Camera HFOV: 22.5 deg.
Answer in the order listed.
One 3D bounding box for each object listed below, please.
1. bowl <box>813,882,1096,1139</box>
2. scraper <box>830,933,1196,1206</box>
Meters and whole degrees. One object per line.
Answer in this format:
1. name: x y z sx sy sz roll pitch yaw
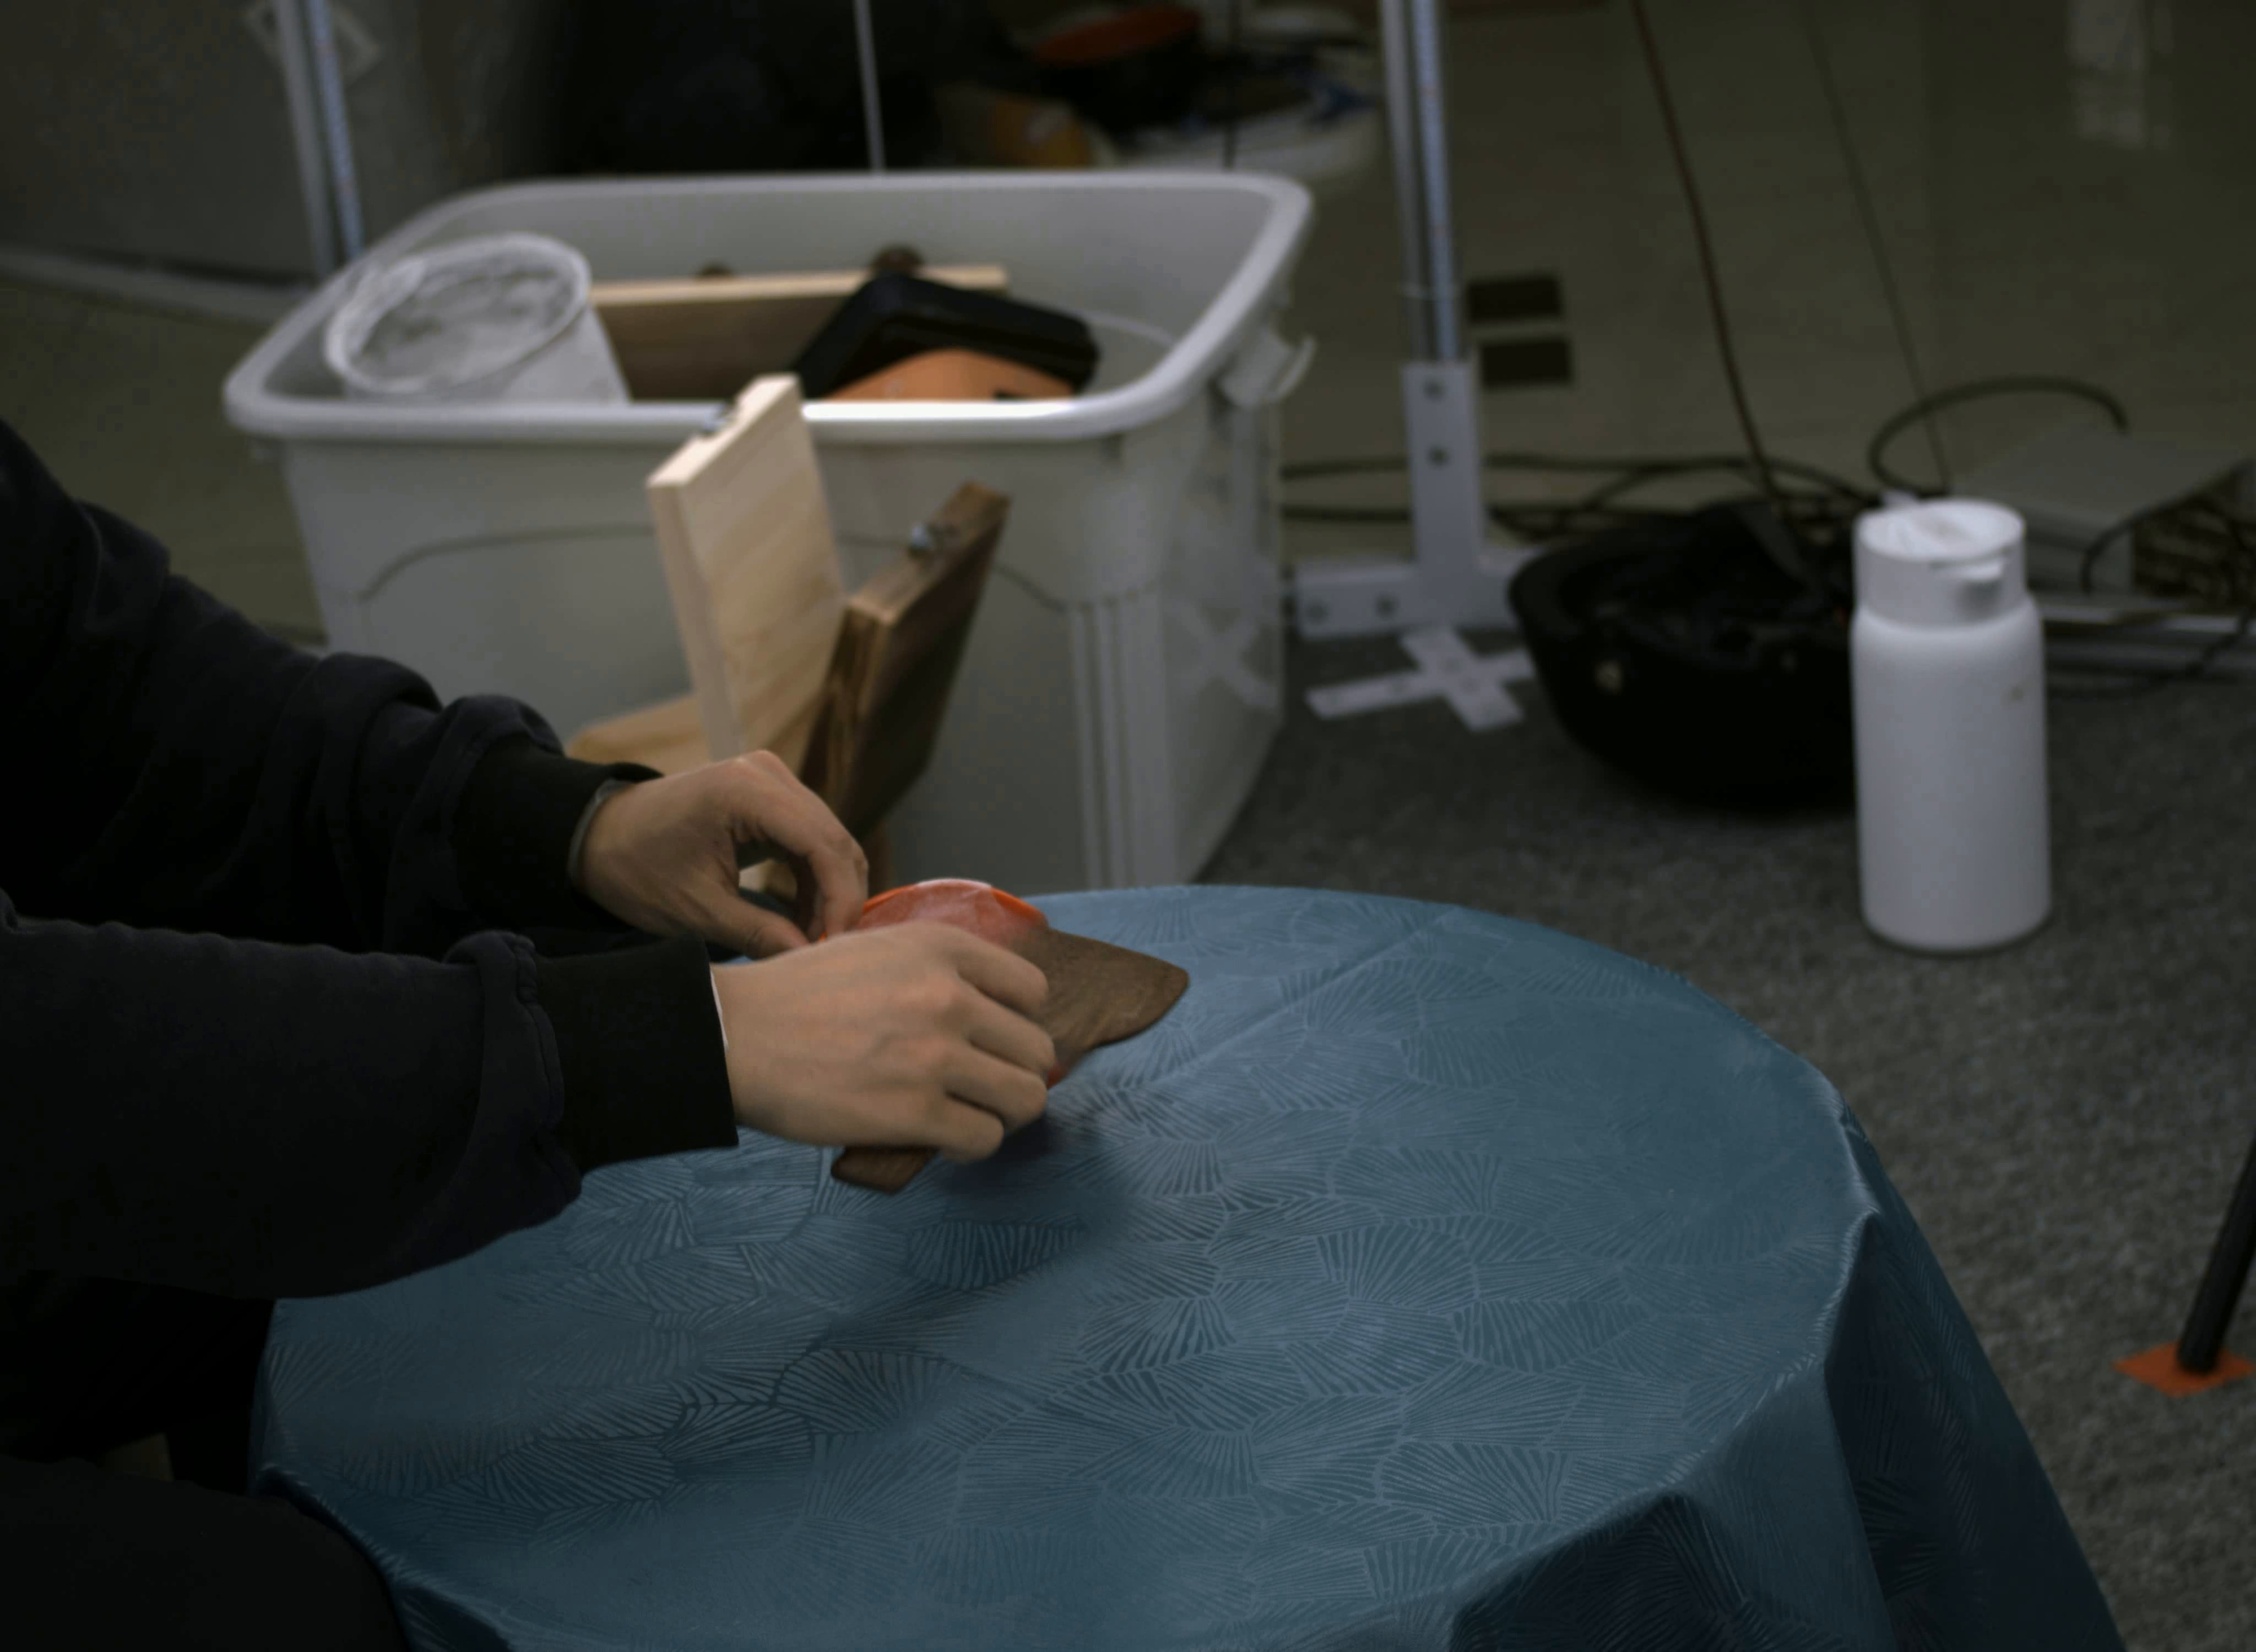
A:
1. bowl: -0.068 0.079 2.213 0.119 0.052 0.117 10 39 -8
2. scraper: -0.049 0.090 2.064 0.075 0.011 0.209 17 29 21
